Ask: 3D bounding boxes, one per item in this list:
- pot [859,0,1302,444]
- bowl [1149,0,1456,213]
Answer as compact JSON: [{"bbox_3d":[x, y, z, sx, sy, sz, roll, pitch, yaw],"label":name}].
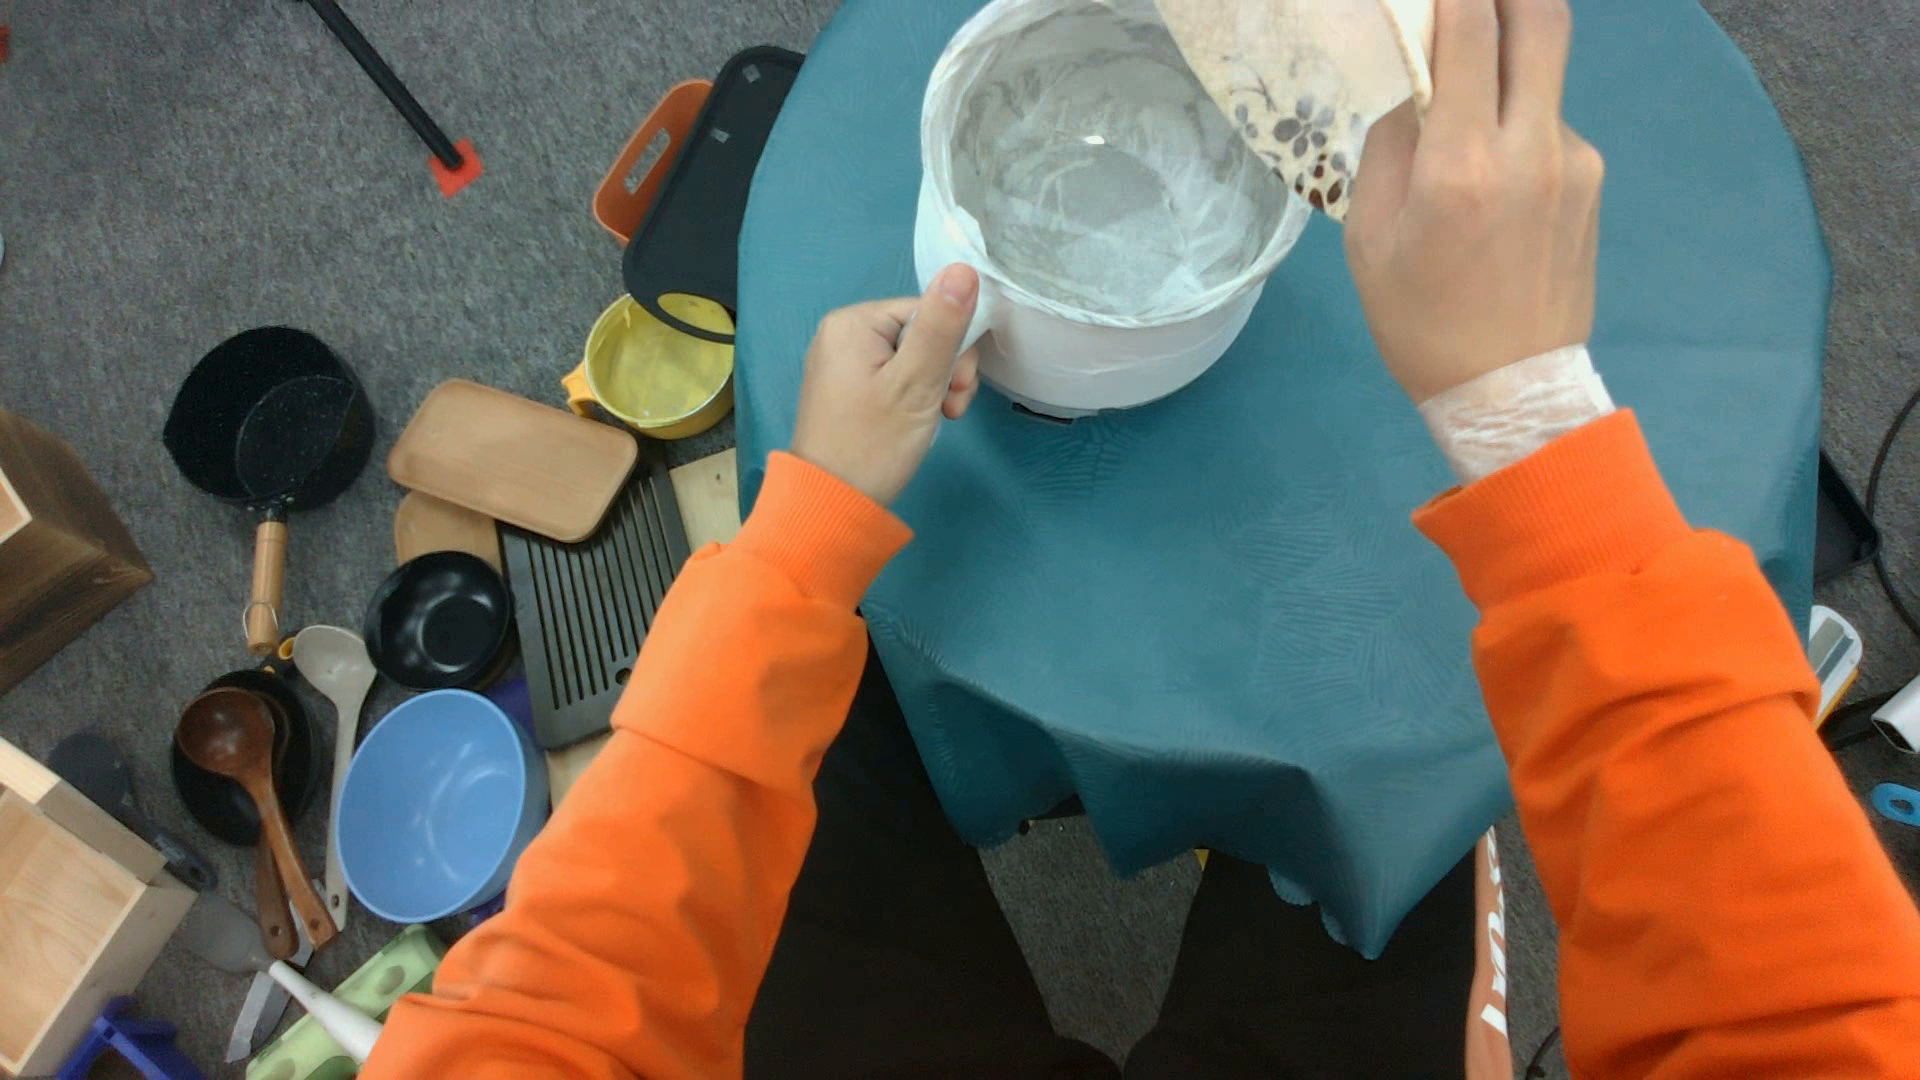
[{"bbox_3d":[0.042,-0.145,0.661,0.179,0.136,0.234,41,76,8],"label":"pot"},{"bbox_3d":[0.137,-0.230,0.524,0.078,0.204,0.204,-38,71,1],"label":"bowl"}]
